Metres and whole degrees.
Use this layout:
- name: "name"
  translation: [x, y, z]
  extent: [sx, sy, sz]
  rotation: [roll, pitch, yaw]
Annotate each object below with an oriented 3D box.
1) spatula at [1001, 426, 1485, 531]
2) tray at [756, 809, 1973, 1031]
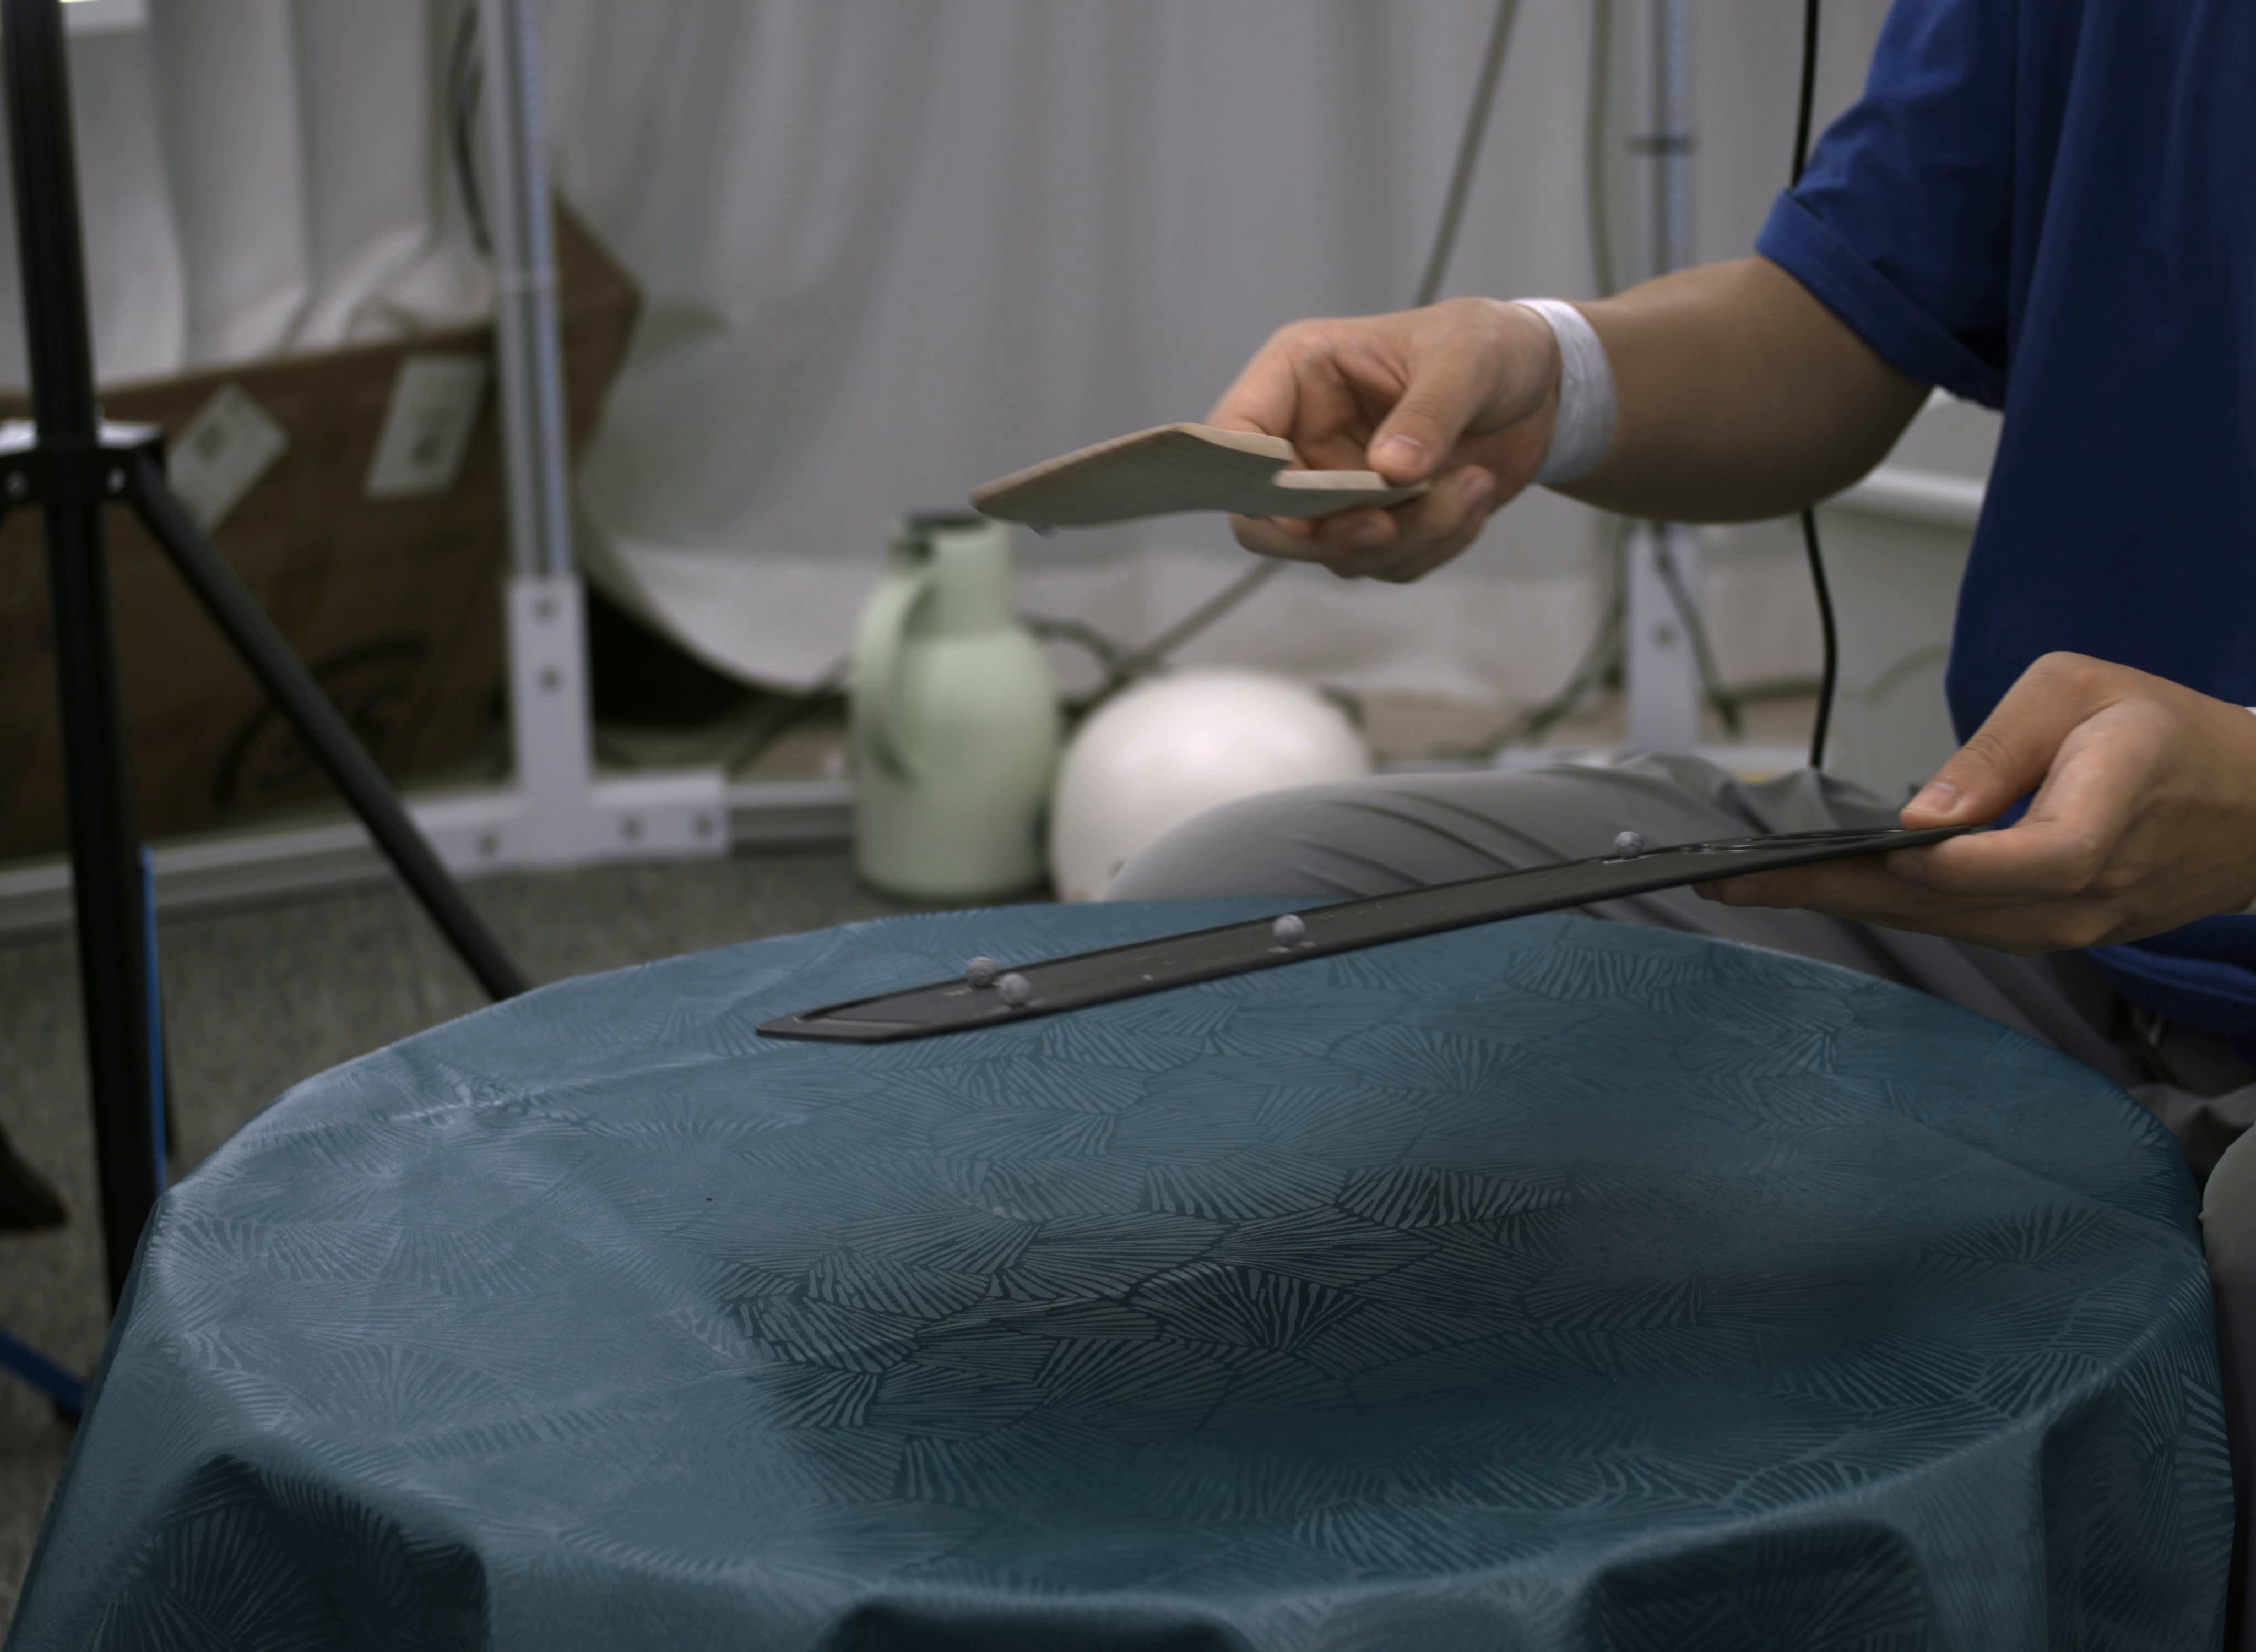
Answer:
- name: "spatula"
  translation: [0.049, -0.100, 1.586]
  extent: [0.073, 0.011, 0.287]
  rotation: [-18, -5, 23]
- name: "tray"
  translation: [0.067, 0.024, 1.444]
  extent: [0.321, 0.010, 0.213]
  rotation: [-10, 1, -14]
